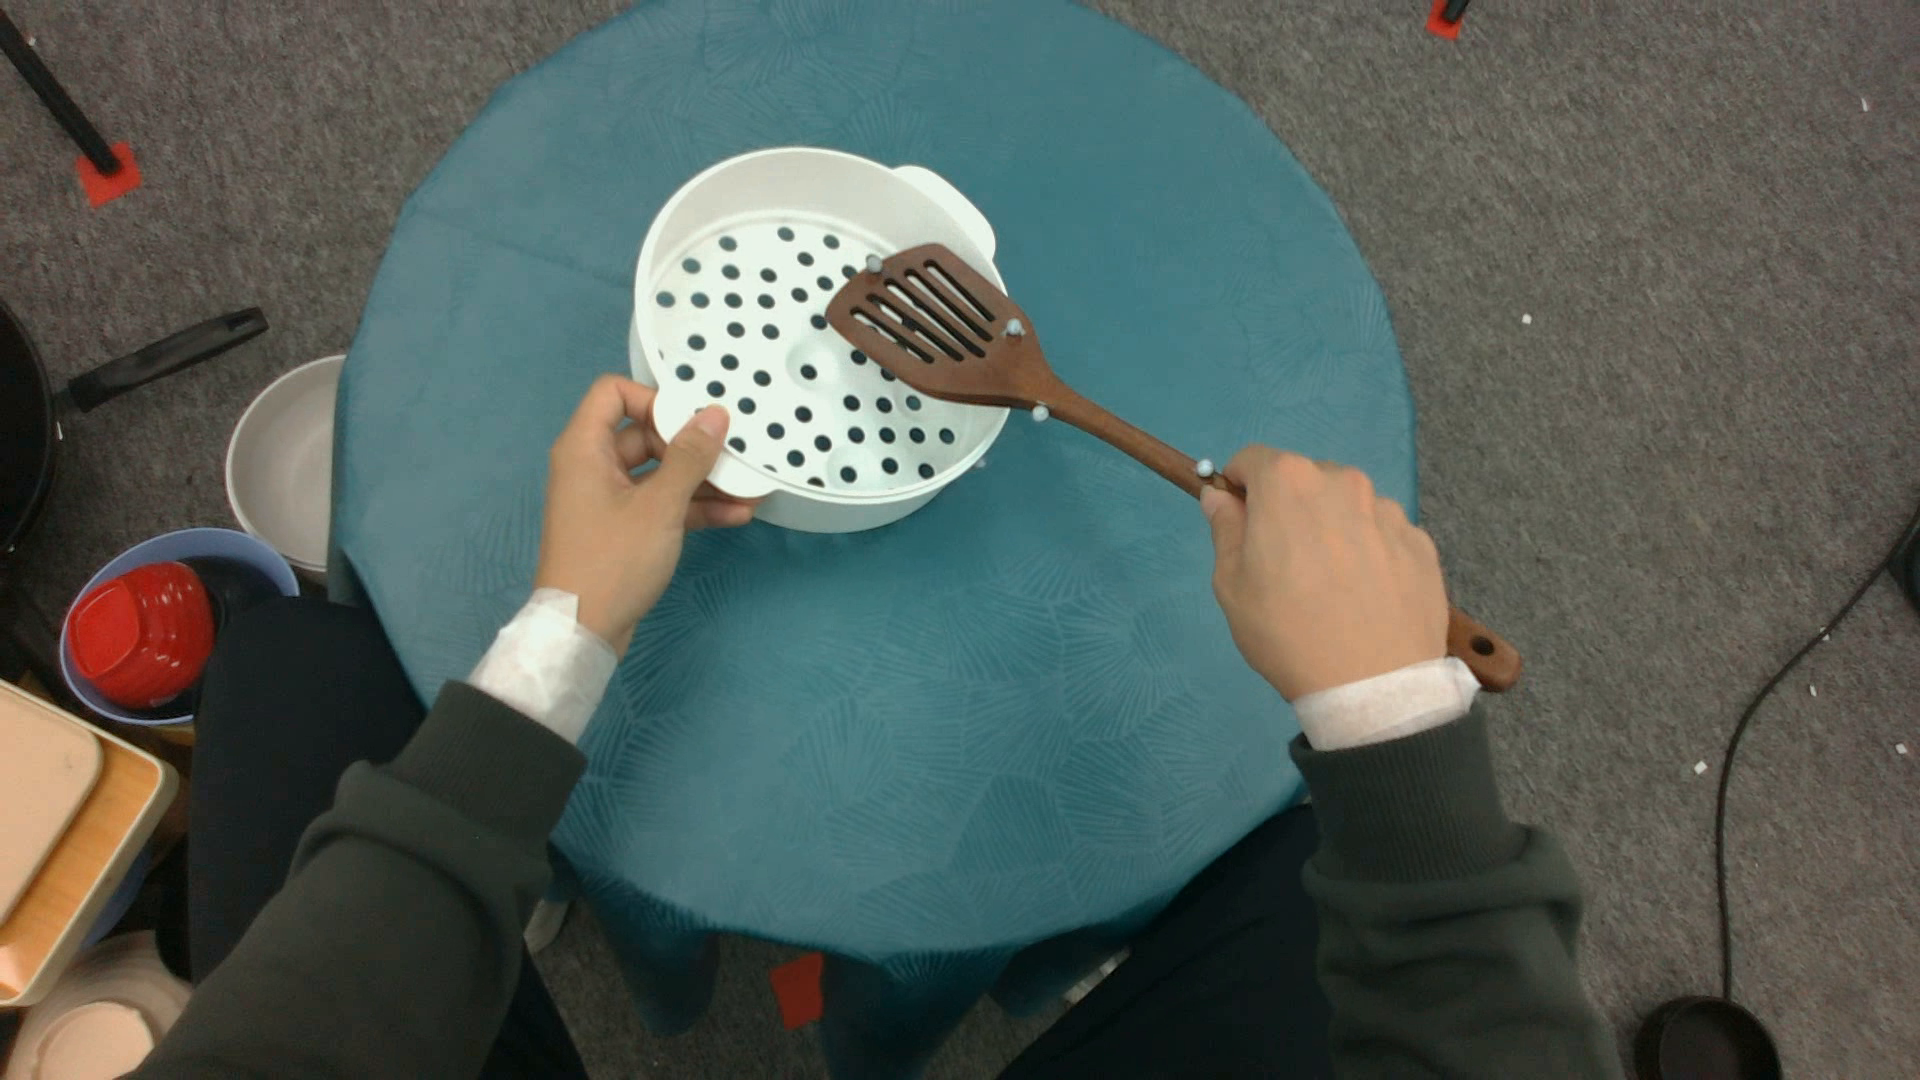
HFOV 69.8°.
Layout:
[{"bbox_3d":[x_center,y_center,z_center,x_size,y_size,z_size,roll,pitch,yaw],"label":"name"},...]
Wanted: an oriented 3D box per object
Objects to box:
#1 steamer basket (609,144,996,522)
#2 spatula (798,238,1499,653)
[{"bbox_3d":[-0.084,-0.108,0.730,0.202,0.069,0.231,38,63,-2],"label":"steamer basket"},{"bbox_3d":[0.074,-0.051,0.641,0.385,0.023,0.086,33,60,33],"label":"spatula"}]
